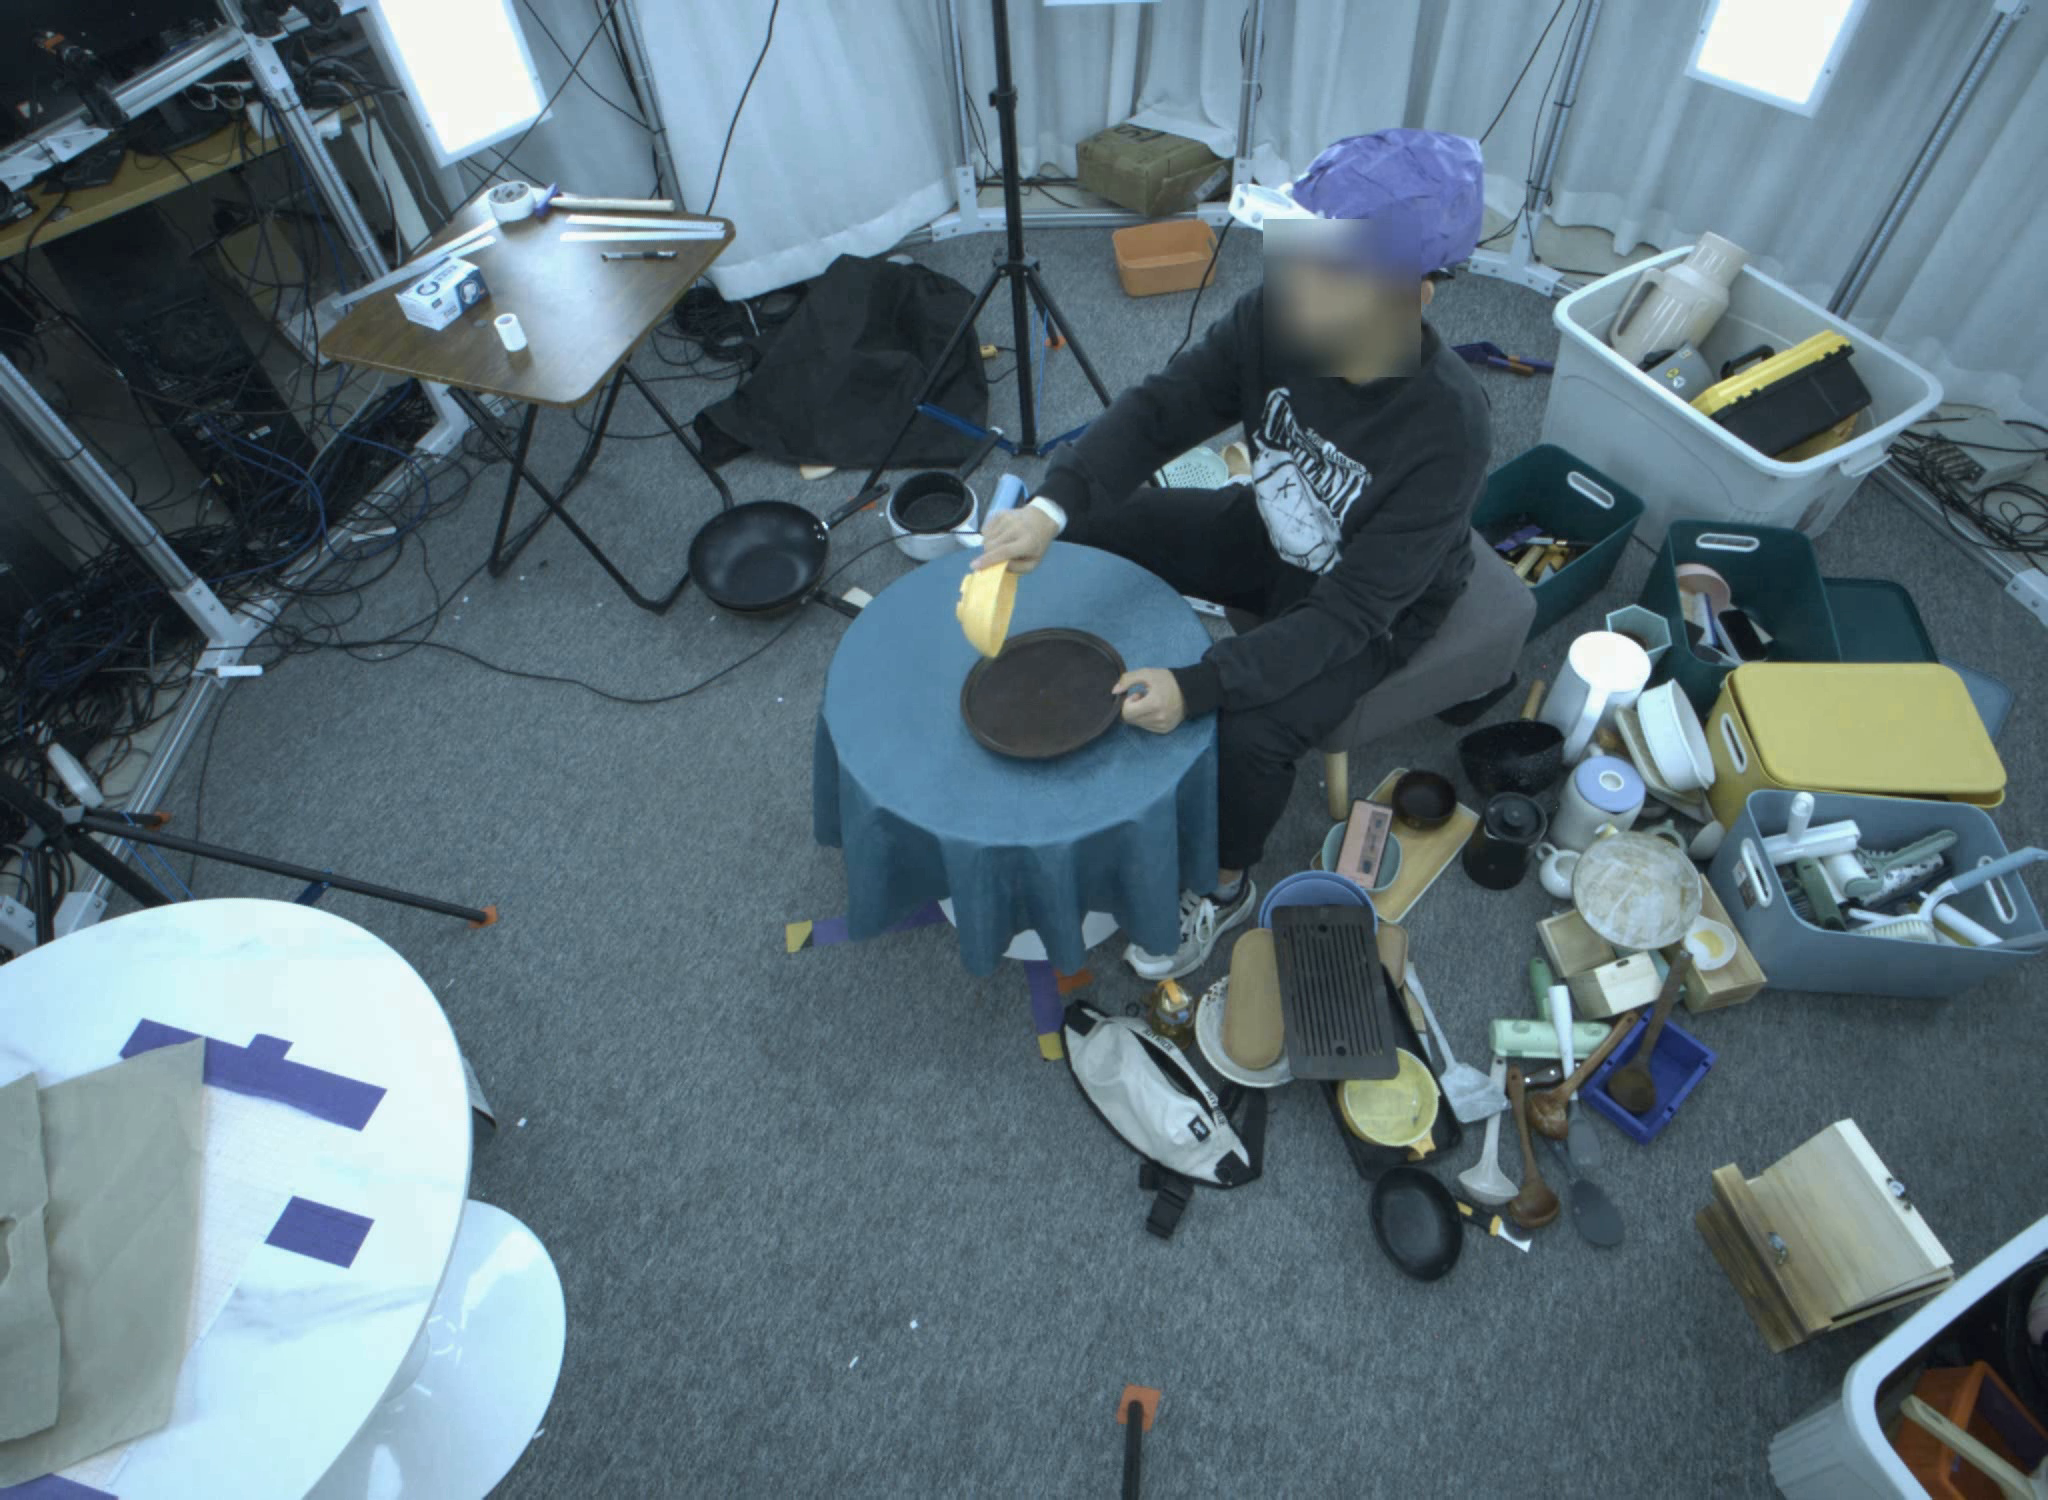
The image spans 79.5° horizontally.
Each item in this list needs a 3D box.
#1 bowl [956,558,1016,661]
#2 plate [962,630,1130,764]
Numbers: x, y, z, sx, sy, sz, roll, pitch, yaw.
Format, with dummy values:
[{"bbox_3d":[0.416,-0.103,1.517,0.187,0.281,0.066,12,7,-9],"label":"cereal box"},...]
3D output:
[{"bbox_3d":[-0.056,-0.197,1.677,0.060,0.146,0.144,11,56,7],"label":"bowl"},{"bbox_3d":[0.033,-0.079,1.820,0.253,0.029,0.252,-6,50,8],"label":"plate"}]
